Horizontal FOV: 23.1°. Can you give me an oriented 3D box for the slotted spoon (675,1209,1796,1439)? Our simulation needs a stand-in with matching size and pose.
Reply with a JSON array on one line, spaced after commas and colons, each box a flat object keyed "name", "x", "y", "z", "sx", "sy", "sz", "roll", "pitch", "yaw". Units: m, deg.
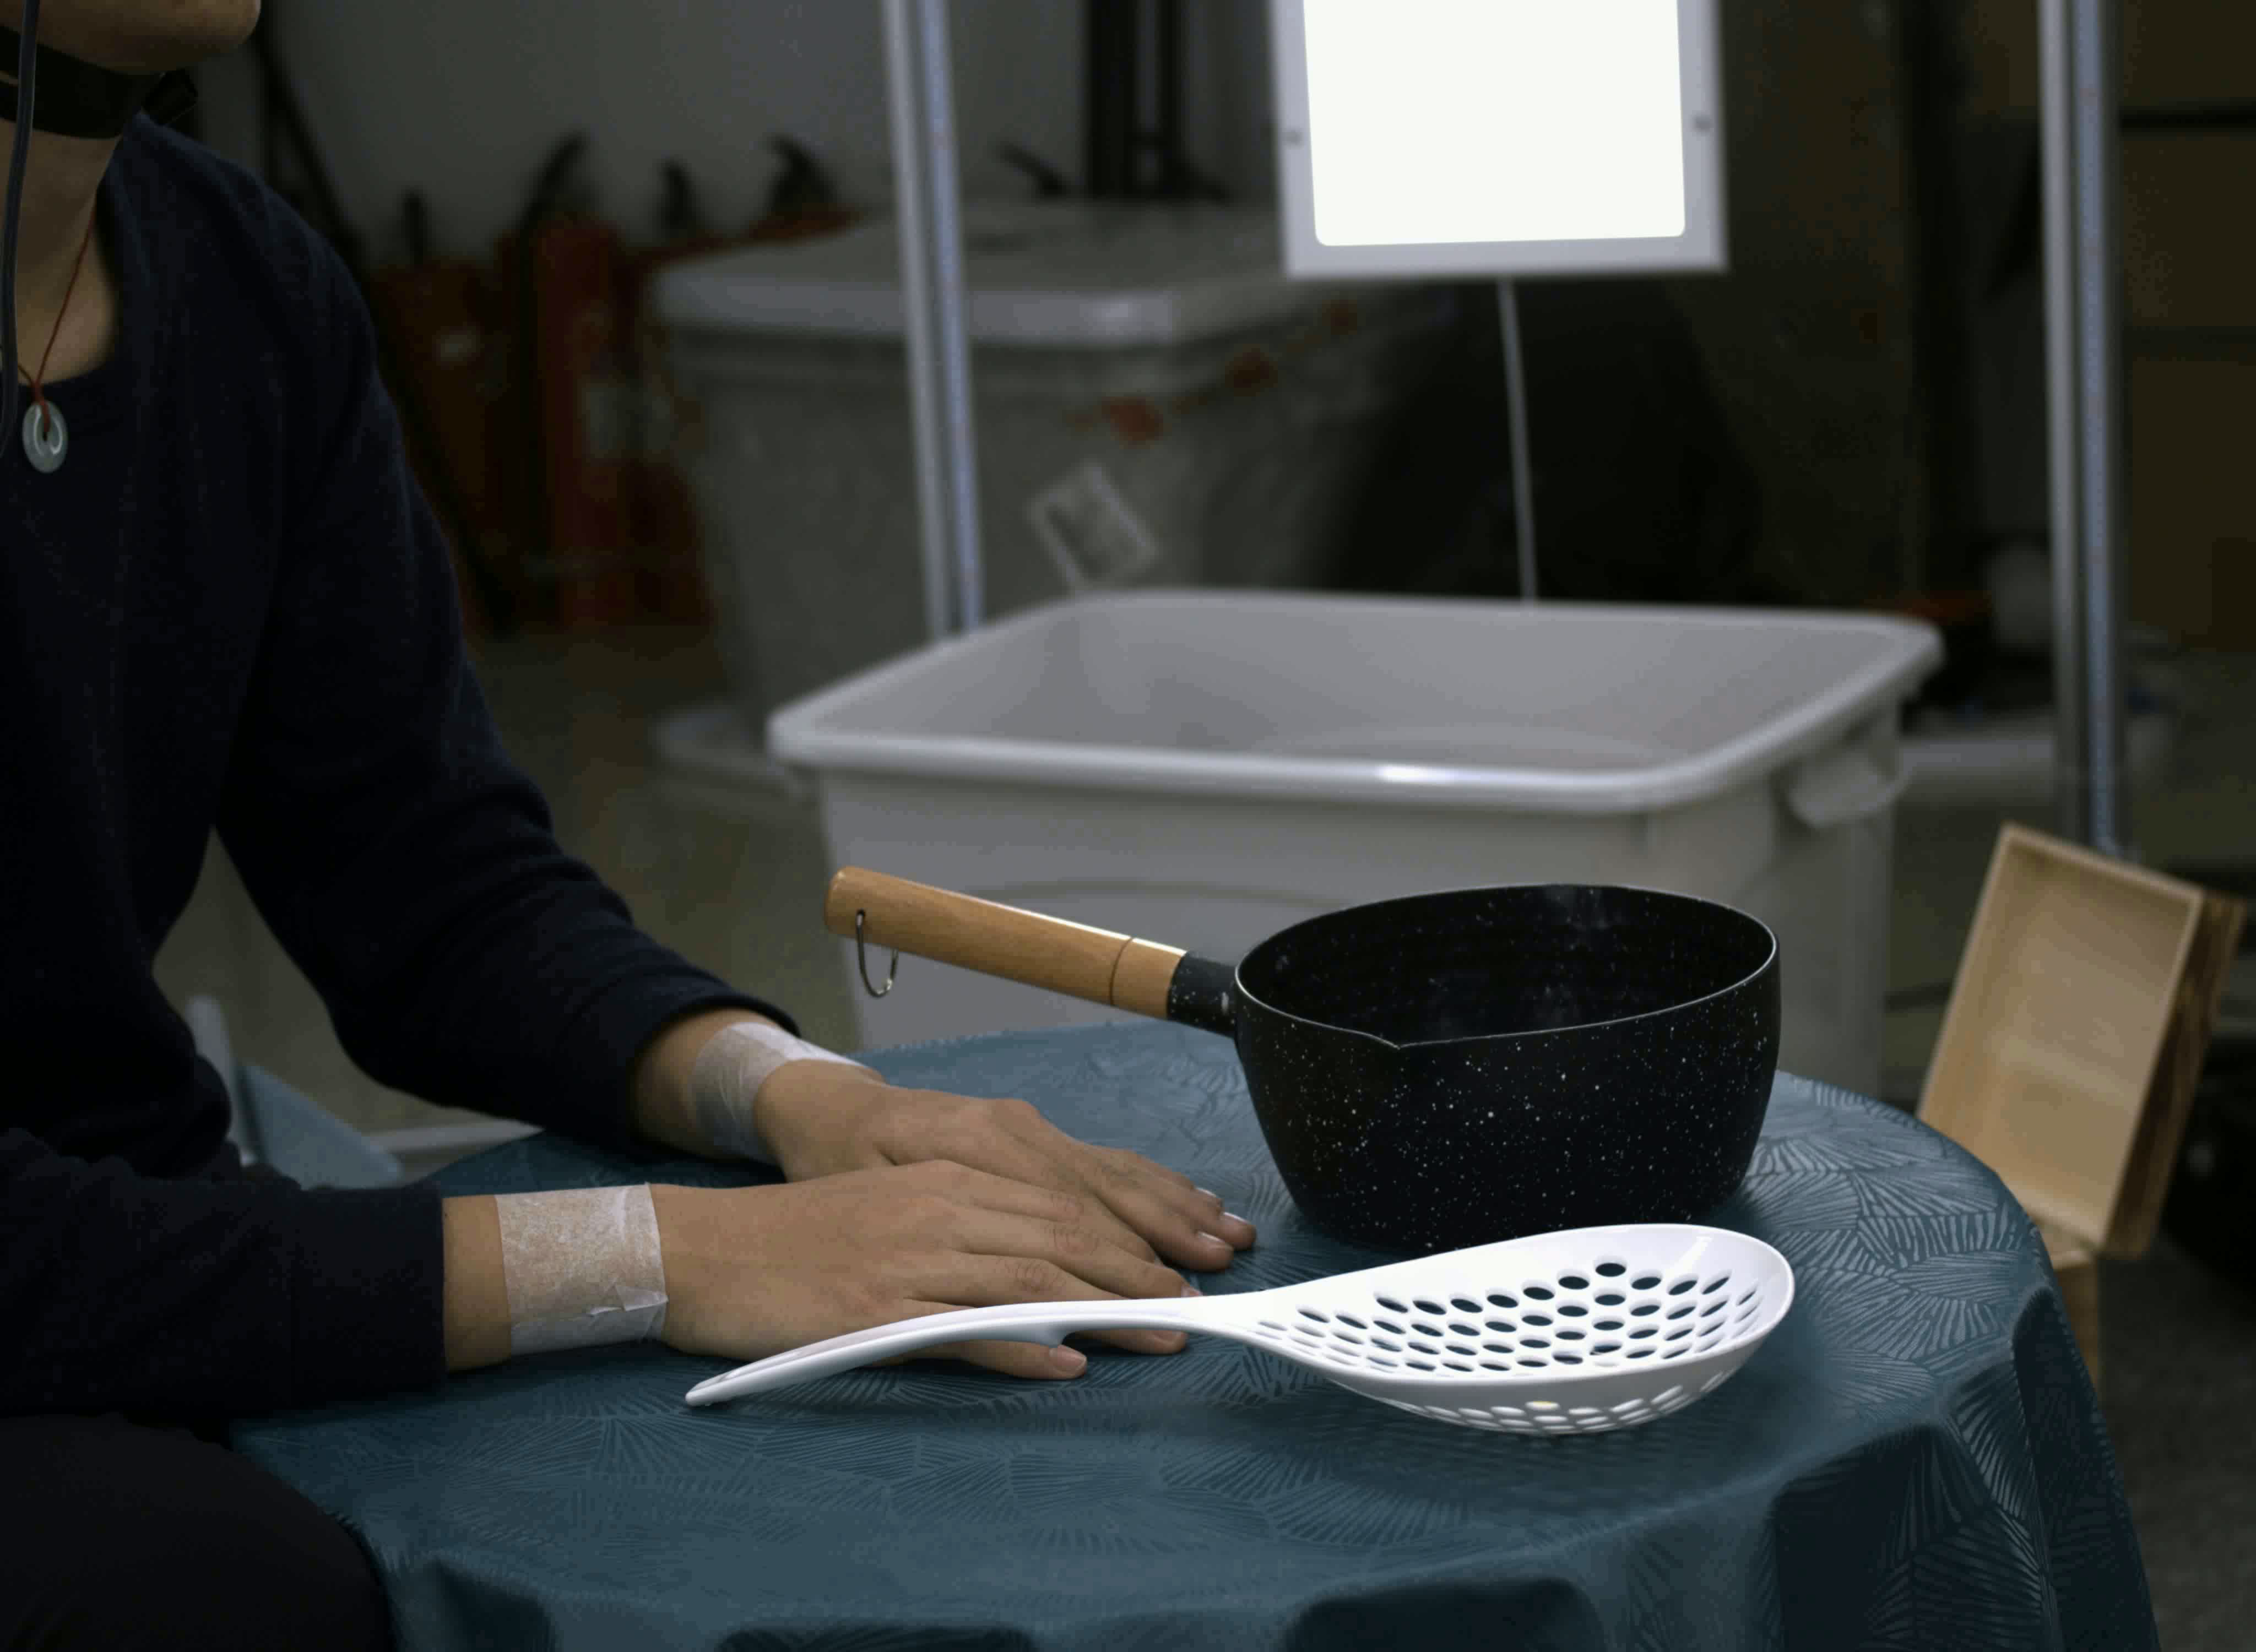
[{"name": "slotted spoon", "x": 0.030, "y": 0.158, "z": 1.669, "sx": 0.351, "sy": 0.050, "sz": 0.135, "roll": 0, "pitch": 16, "yaw": 15}]

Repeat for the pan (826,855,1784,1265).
[{"name": "pan", "x": 0.055, "y": 0.070, "z": 1.878, "sx": 0.348, "sy": 0.108, "sz": 0.203, "roll": 2, "pitch": 17, "yaw": 23}]
